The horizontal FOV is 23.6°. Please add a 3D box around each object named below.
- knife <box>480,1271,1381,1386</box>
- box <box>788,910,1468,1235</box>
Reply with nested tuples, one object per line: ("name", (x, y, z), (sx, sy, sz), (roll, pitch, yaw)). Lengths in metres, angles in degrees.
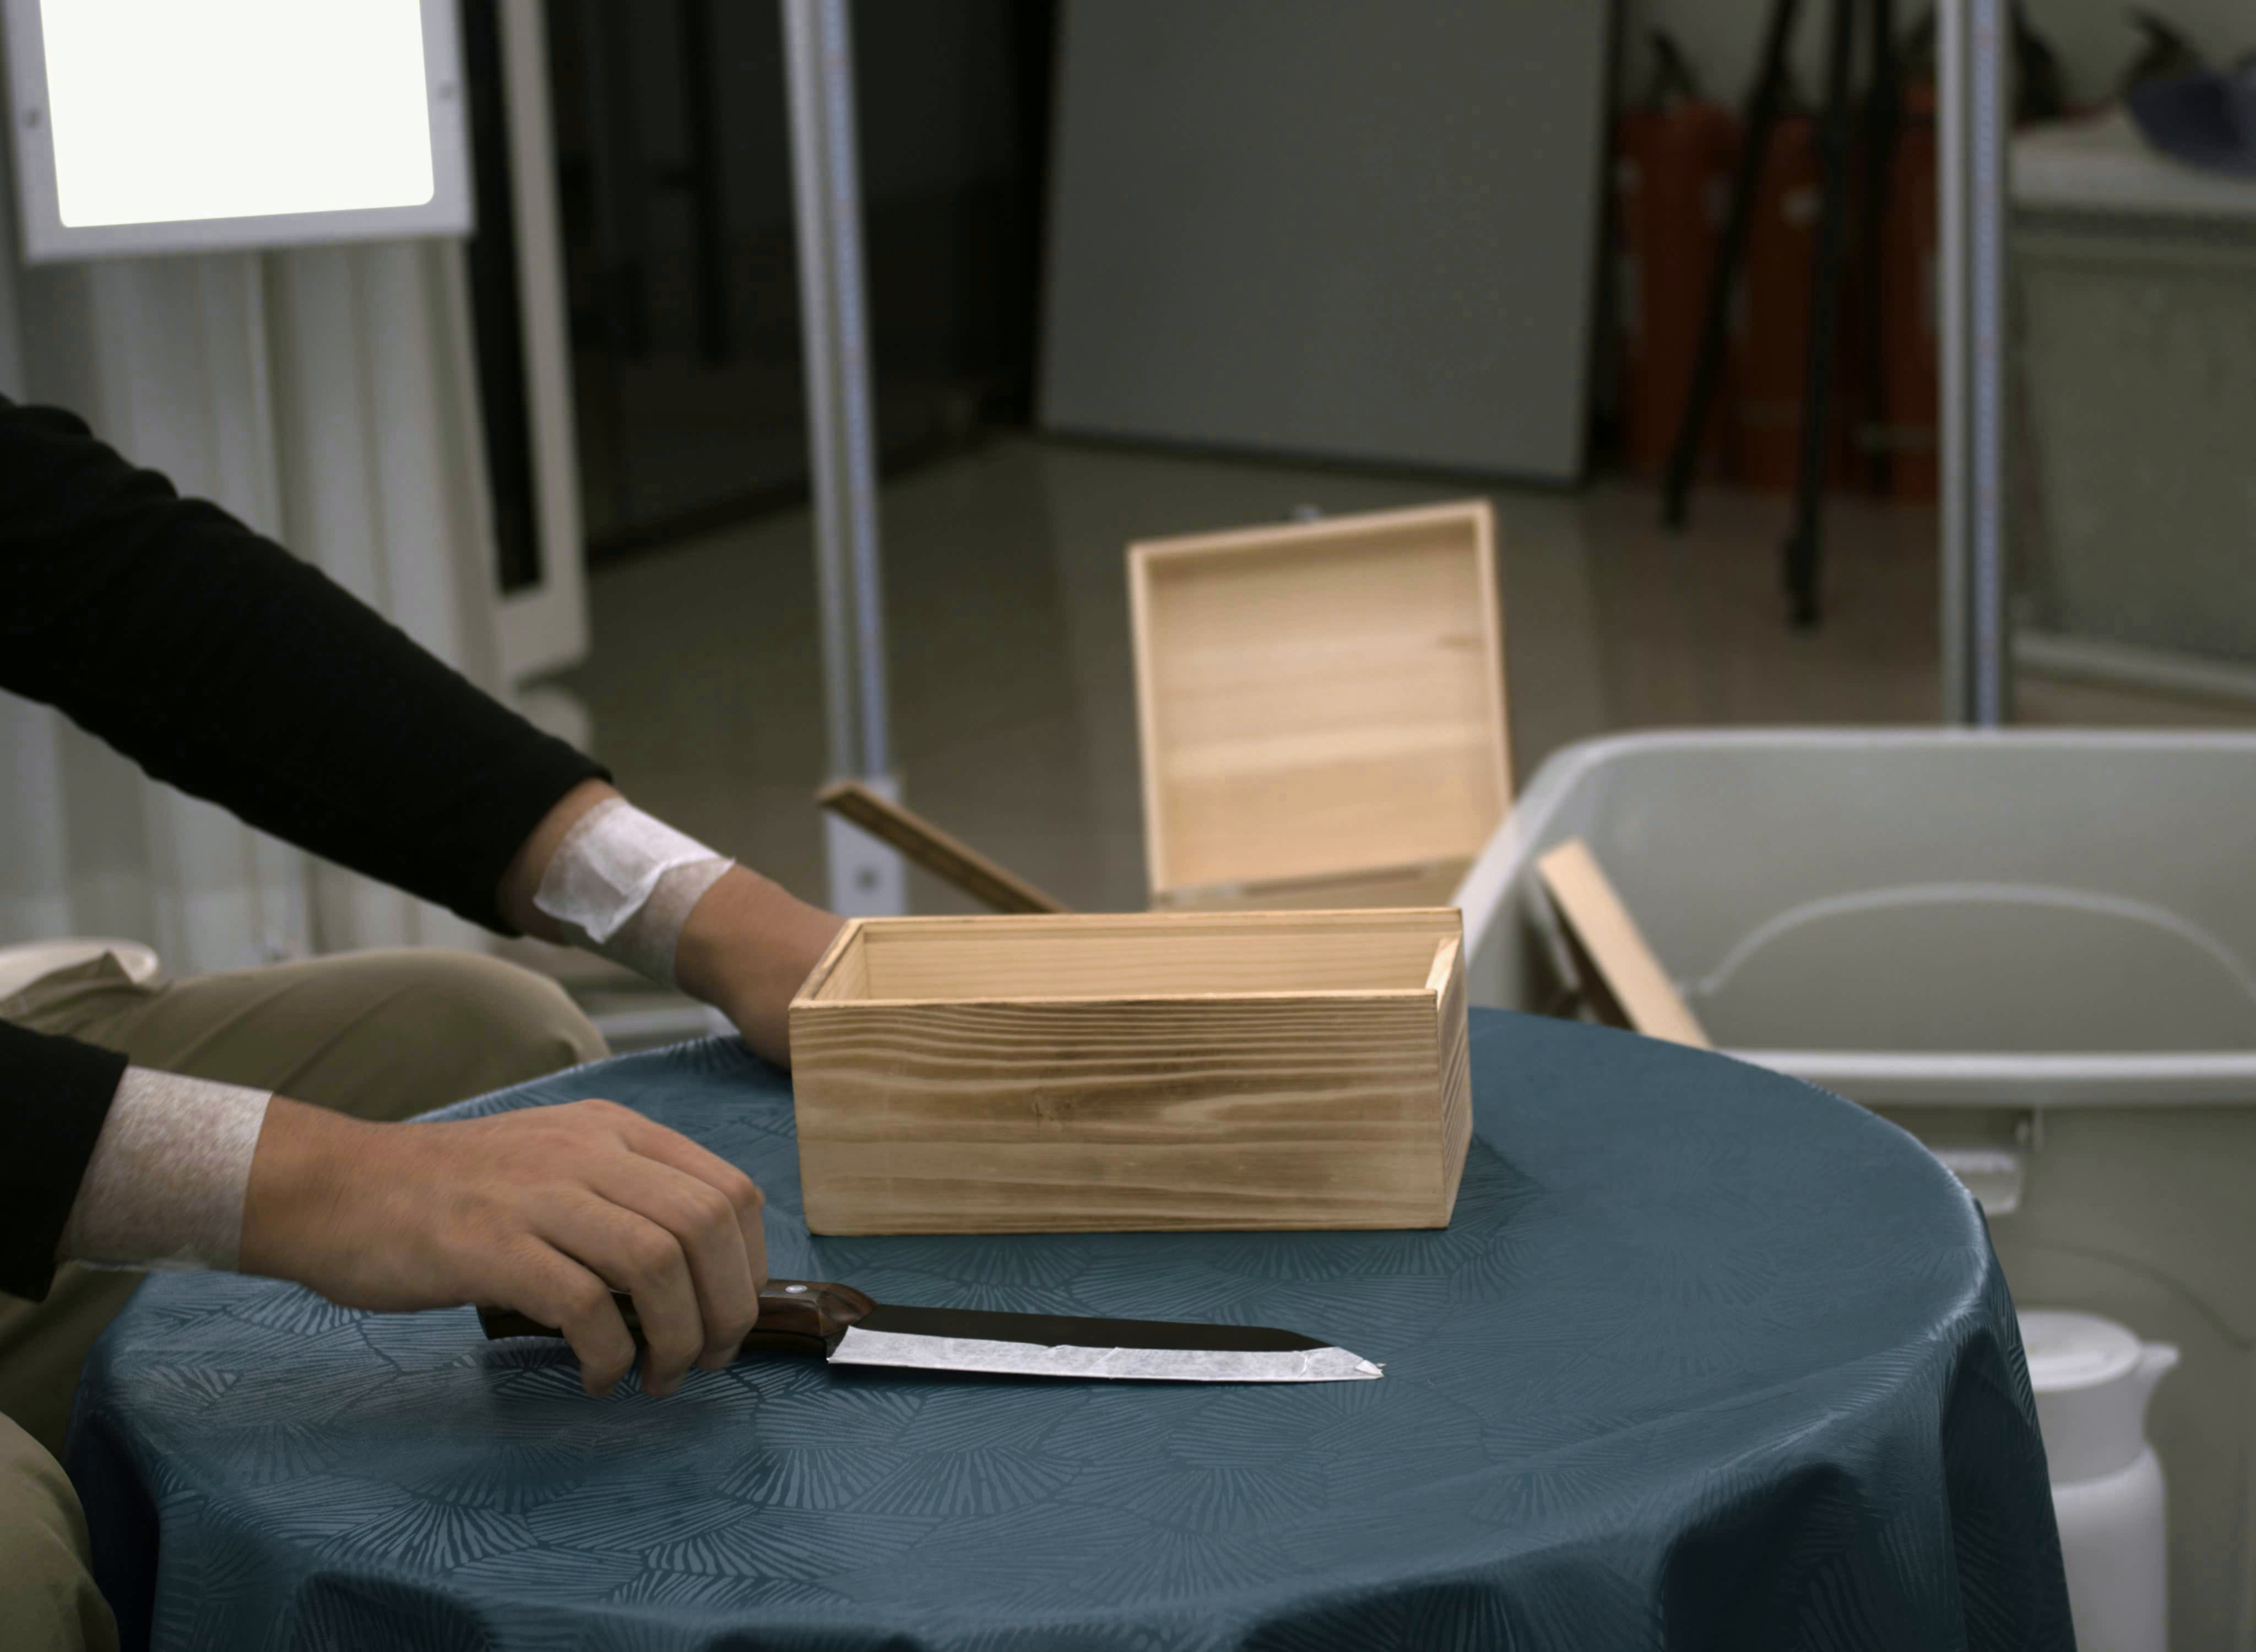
("knife", (-0.063, 0.154, 1.624), (0.288, 0.020, 0.050), (3, 20, 16))
("box", (0.003, 0.080, 1.768), (0.210, 0.081, 0.107), (-1, 13, 10))
